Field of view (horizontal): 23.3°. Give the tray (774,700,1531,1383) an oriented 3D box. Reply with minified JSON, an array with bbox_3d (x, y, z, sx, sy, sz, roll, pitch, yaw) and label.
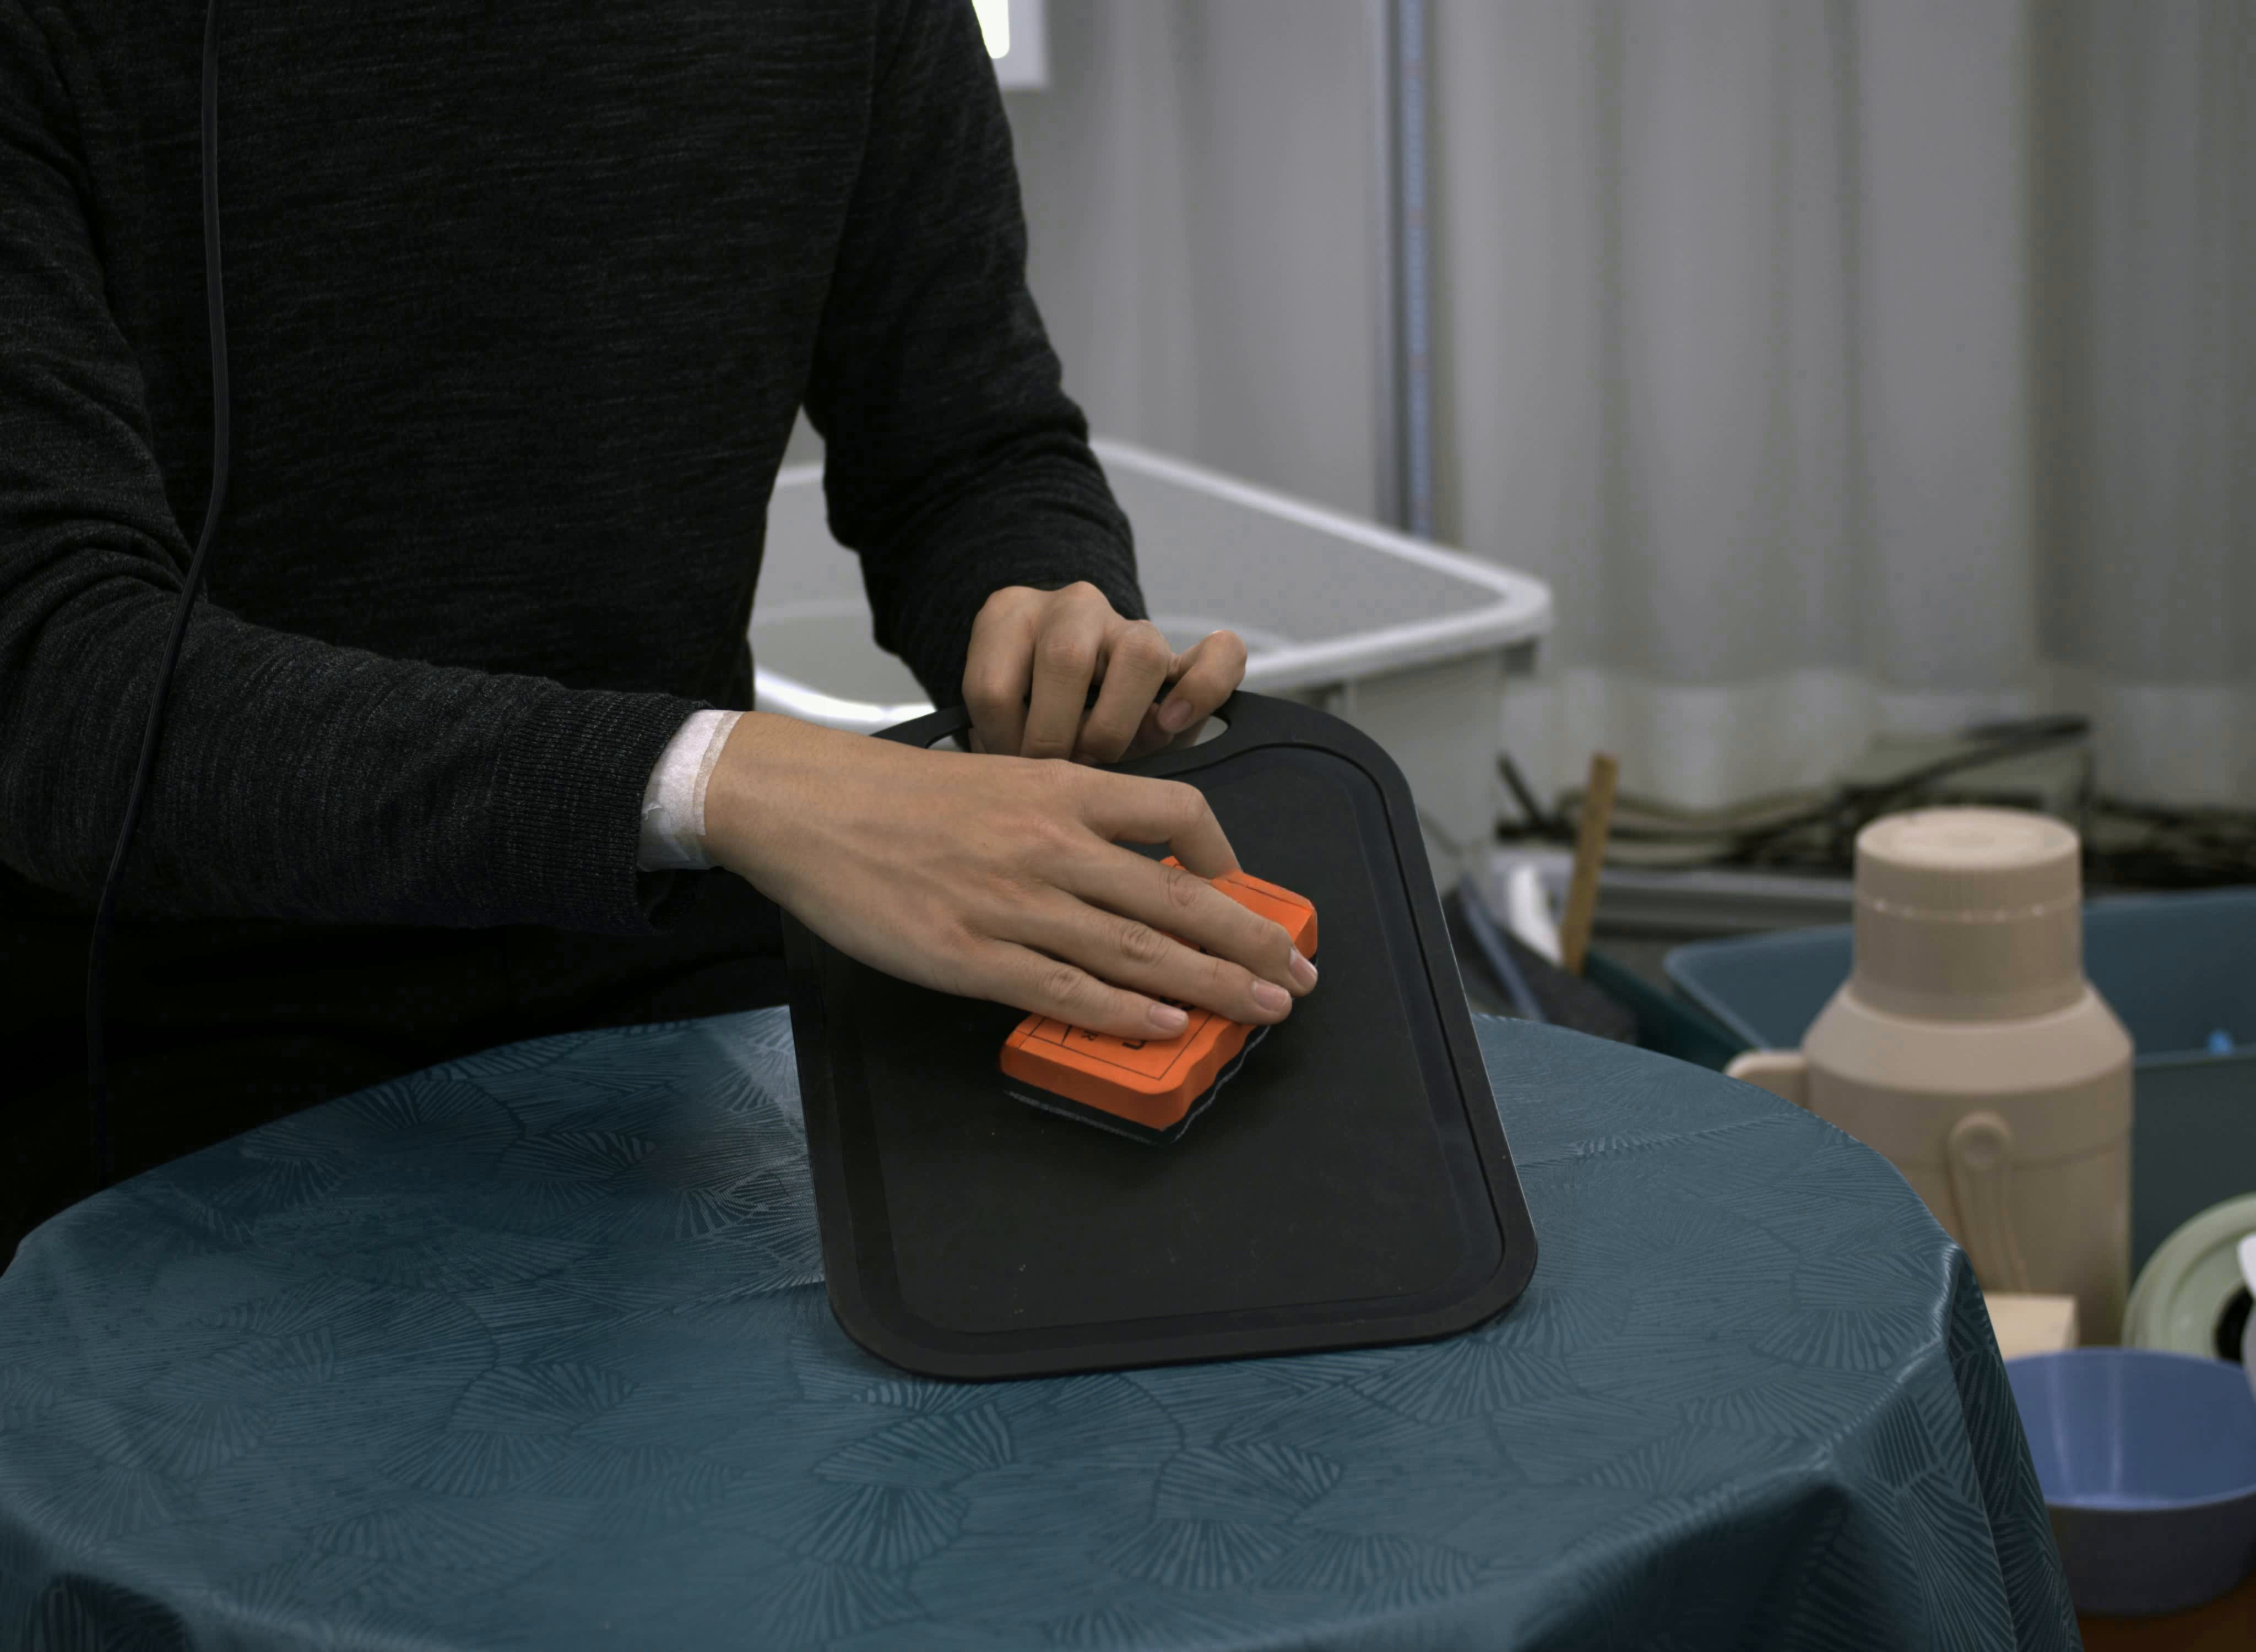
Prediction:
[{"bbox_3d":[0.000,0.056,1.691,0.210,0.009,0.330,-4,37,-5],"label":"tray"}]

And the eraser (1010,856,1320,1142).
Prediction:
[{"bbox_3d":[0.012,0.052,1.682,0.059,0.022,0.109,17,41,25],"label":"eraser"}]
